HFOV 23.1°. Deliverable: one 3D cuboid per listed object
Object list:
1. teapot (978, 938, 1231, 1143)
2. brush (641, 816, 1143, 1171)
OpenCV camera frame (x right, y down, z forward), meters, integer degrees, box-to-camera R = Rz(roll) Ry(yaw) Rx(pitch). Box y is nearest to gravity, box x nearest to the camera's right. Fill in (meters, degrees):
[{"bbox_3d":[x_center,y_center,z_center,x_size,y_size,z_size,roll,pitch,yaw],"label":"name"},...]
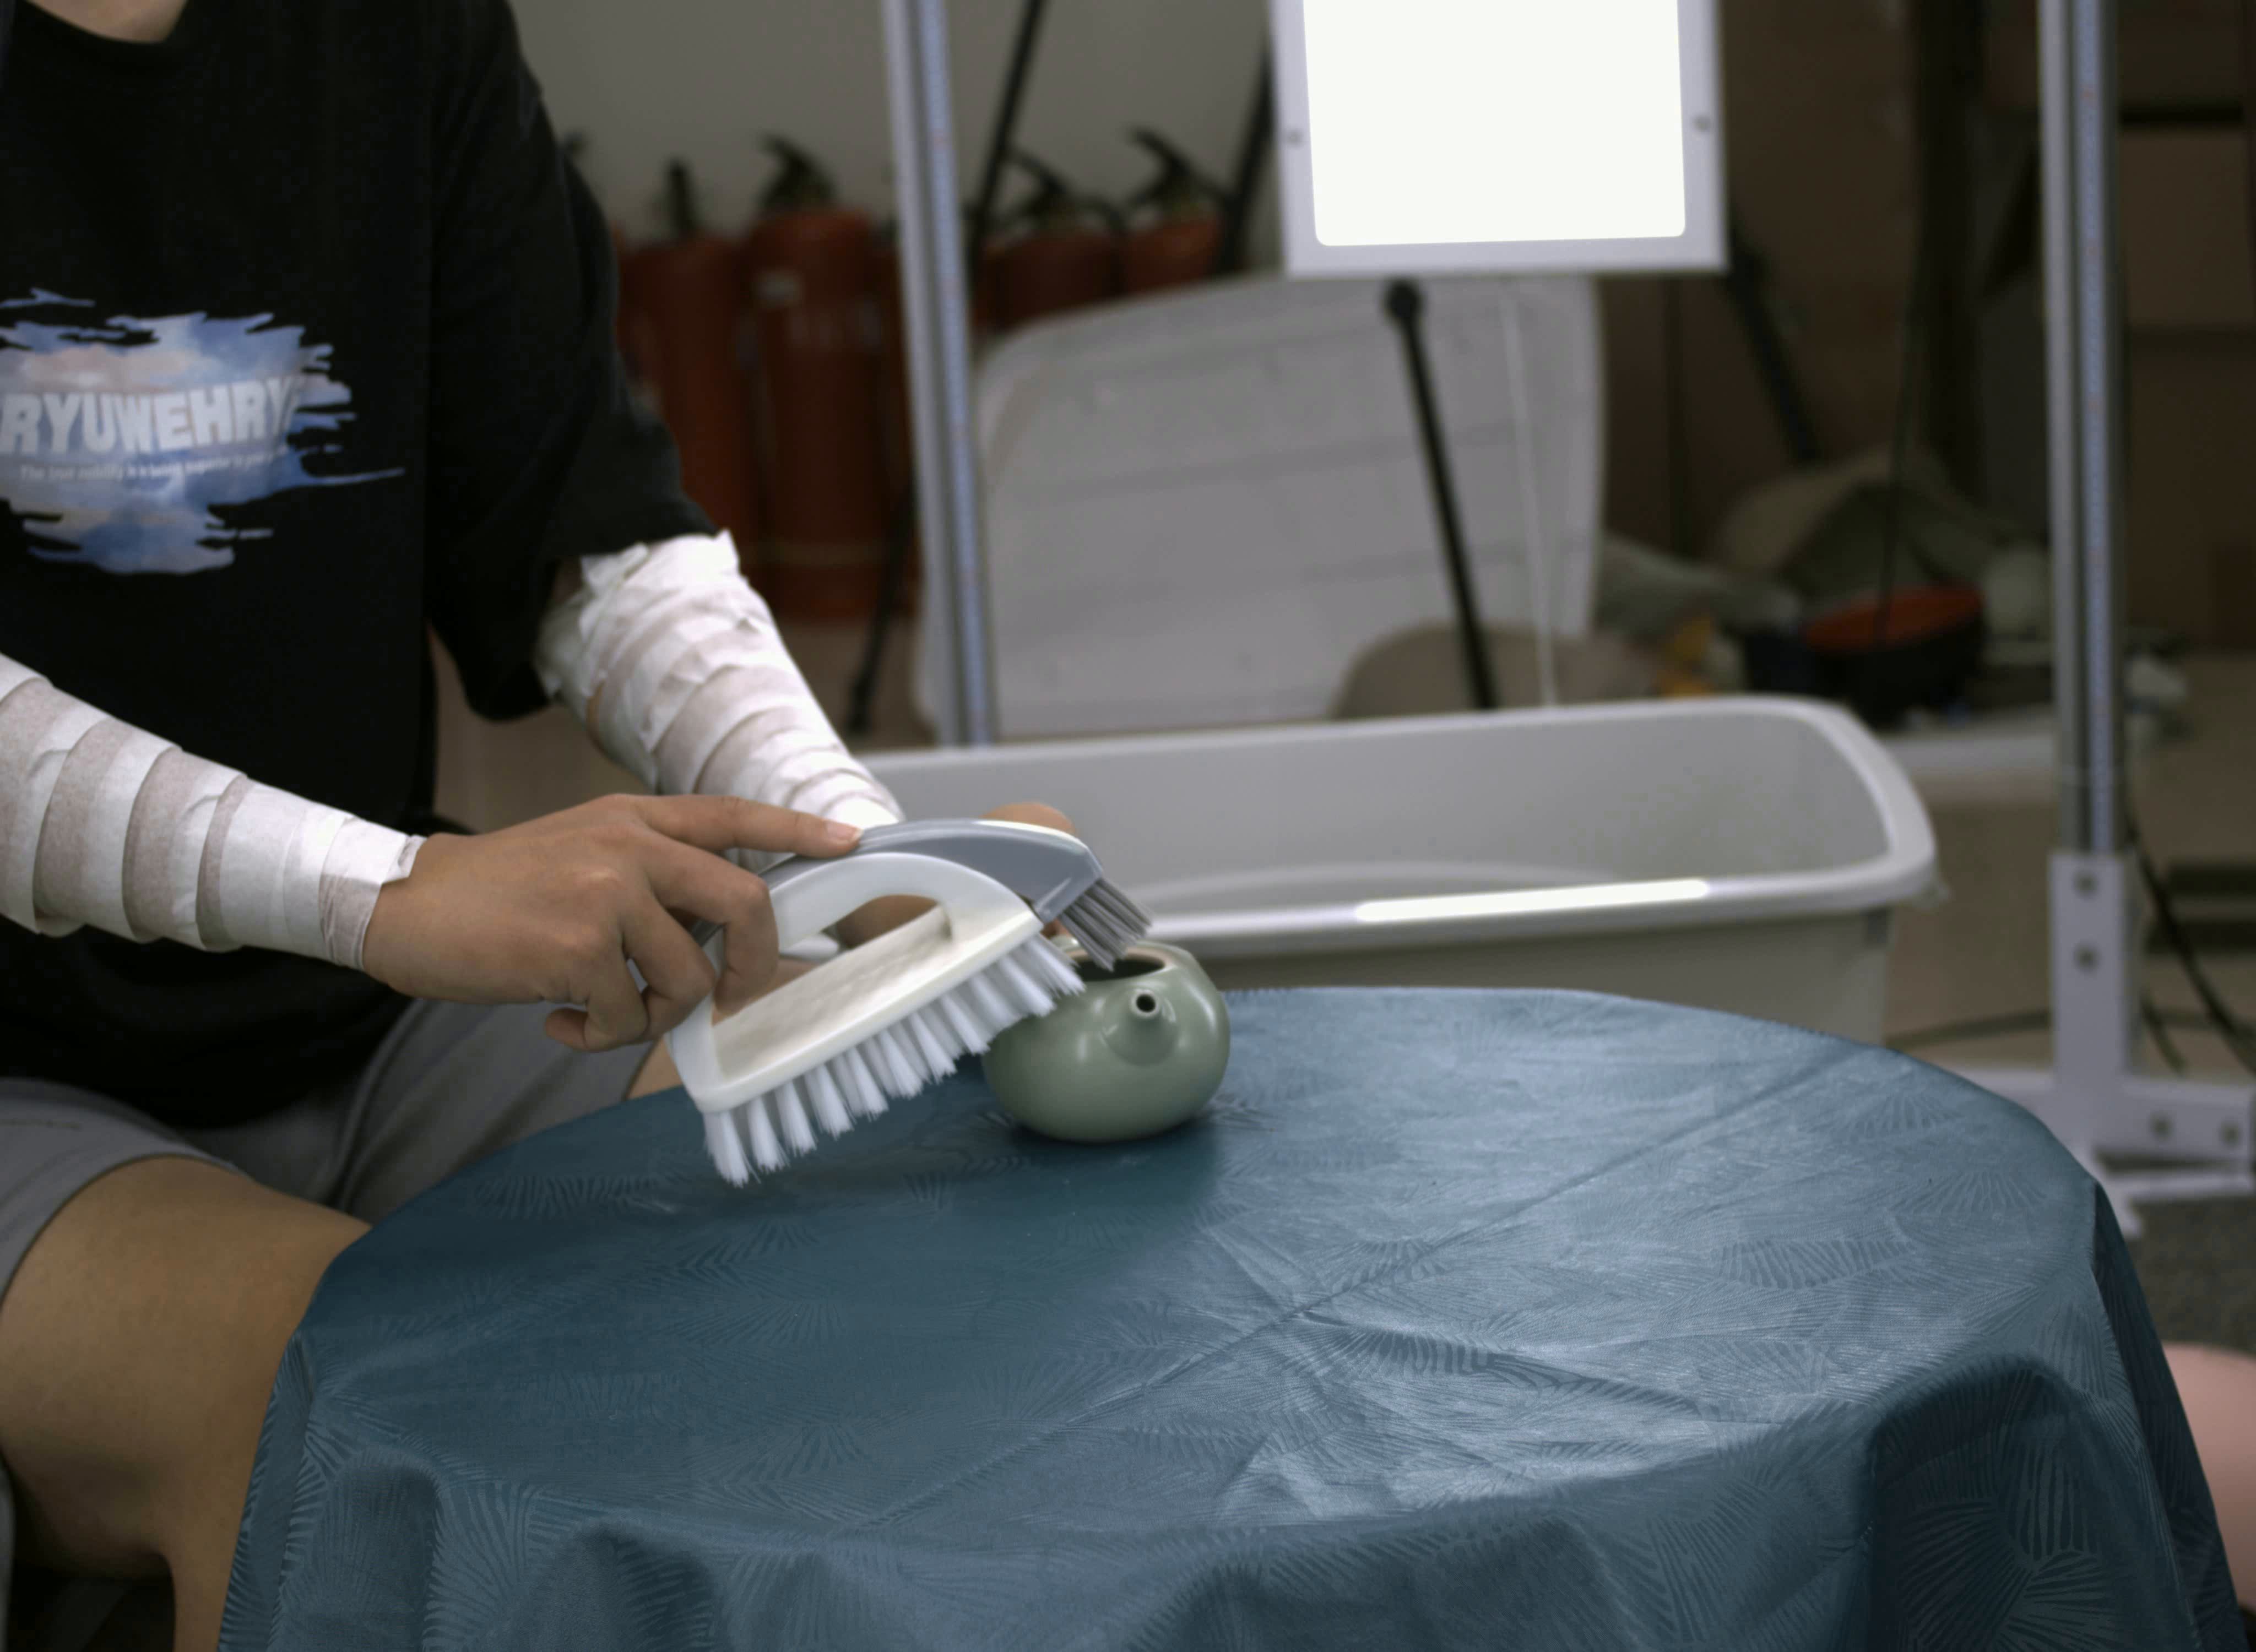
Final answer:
[{"bbox_3d":[-0.011,0.075,1.986,0.090,0.061,0.129,-9,14,-11],"label":"teapot"},{"bbox_3d":[-0.087,0.041,1.927,0.175,0.094,0.062,-25,25,-1],"label":"brush"}]
